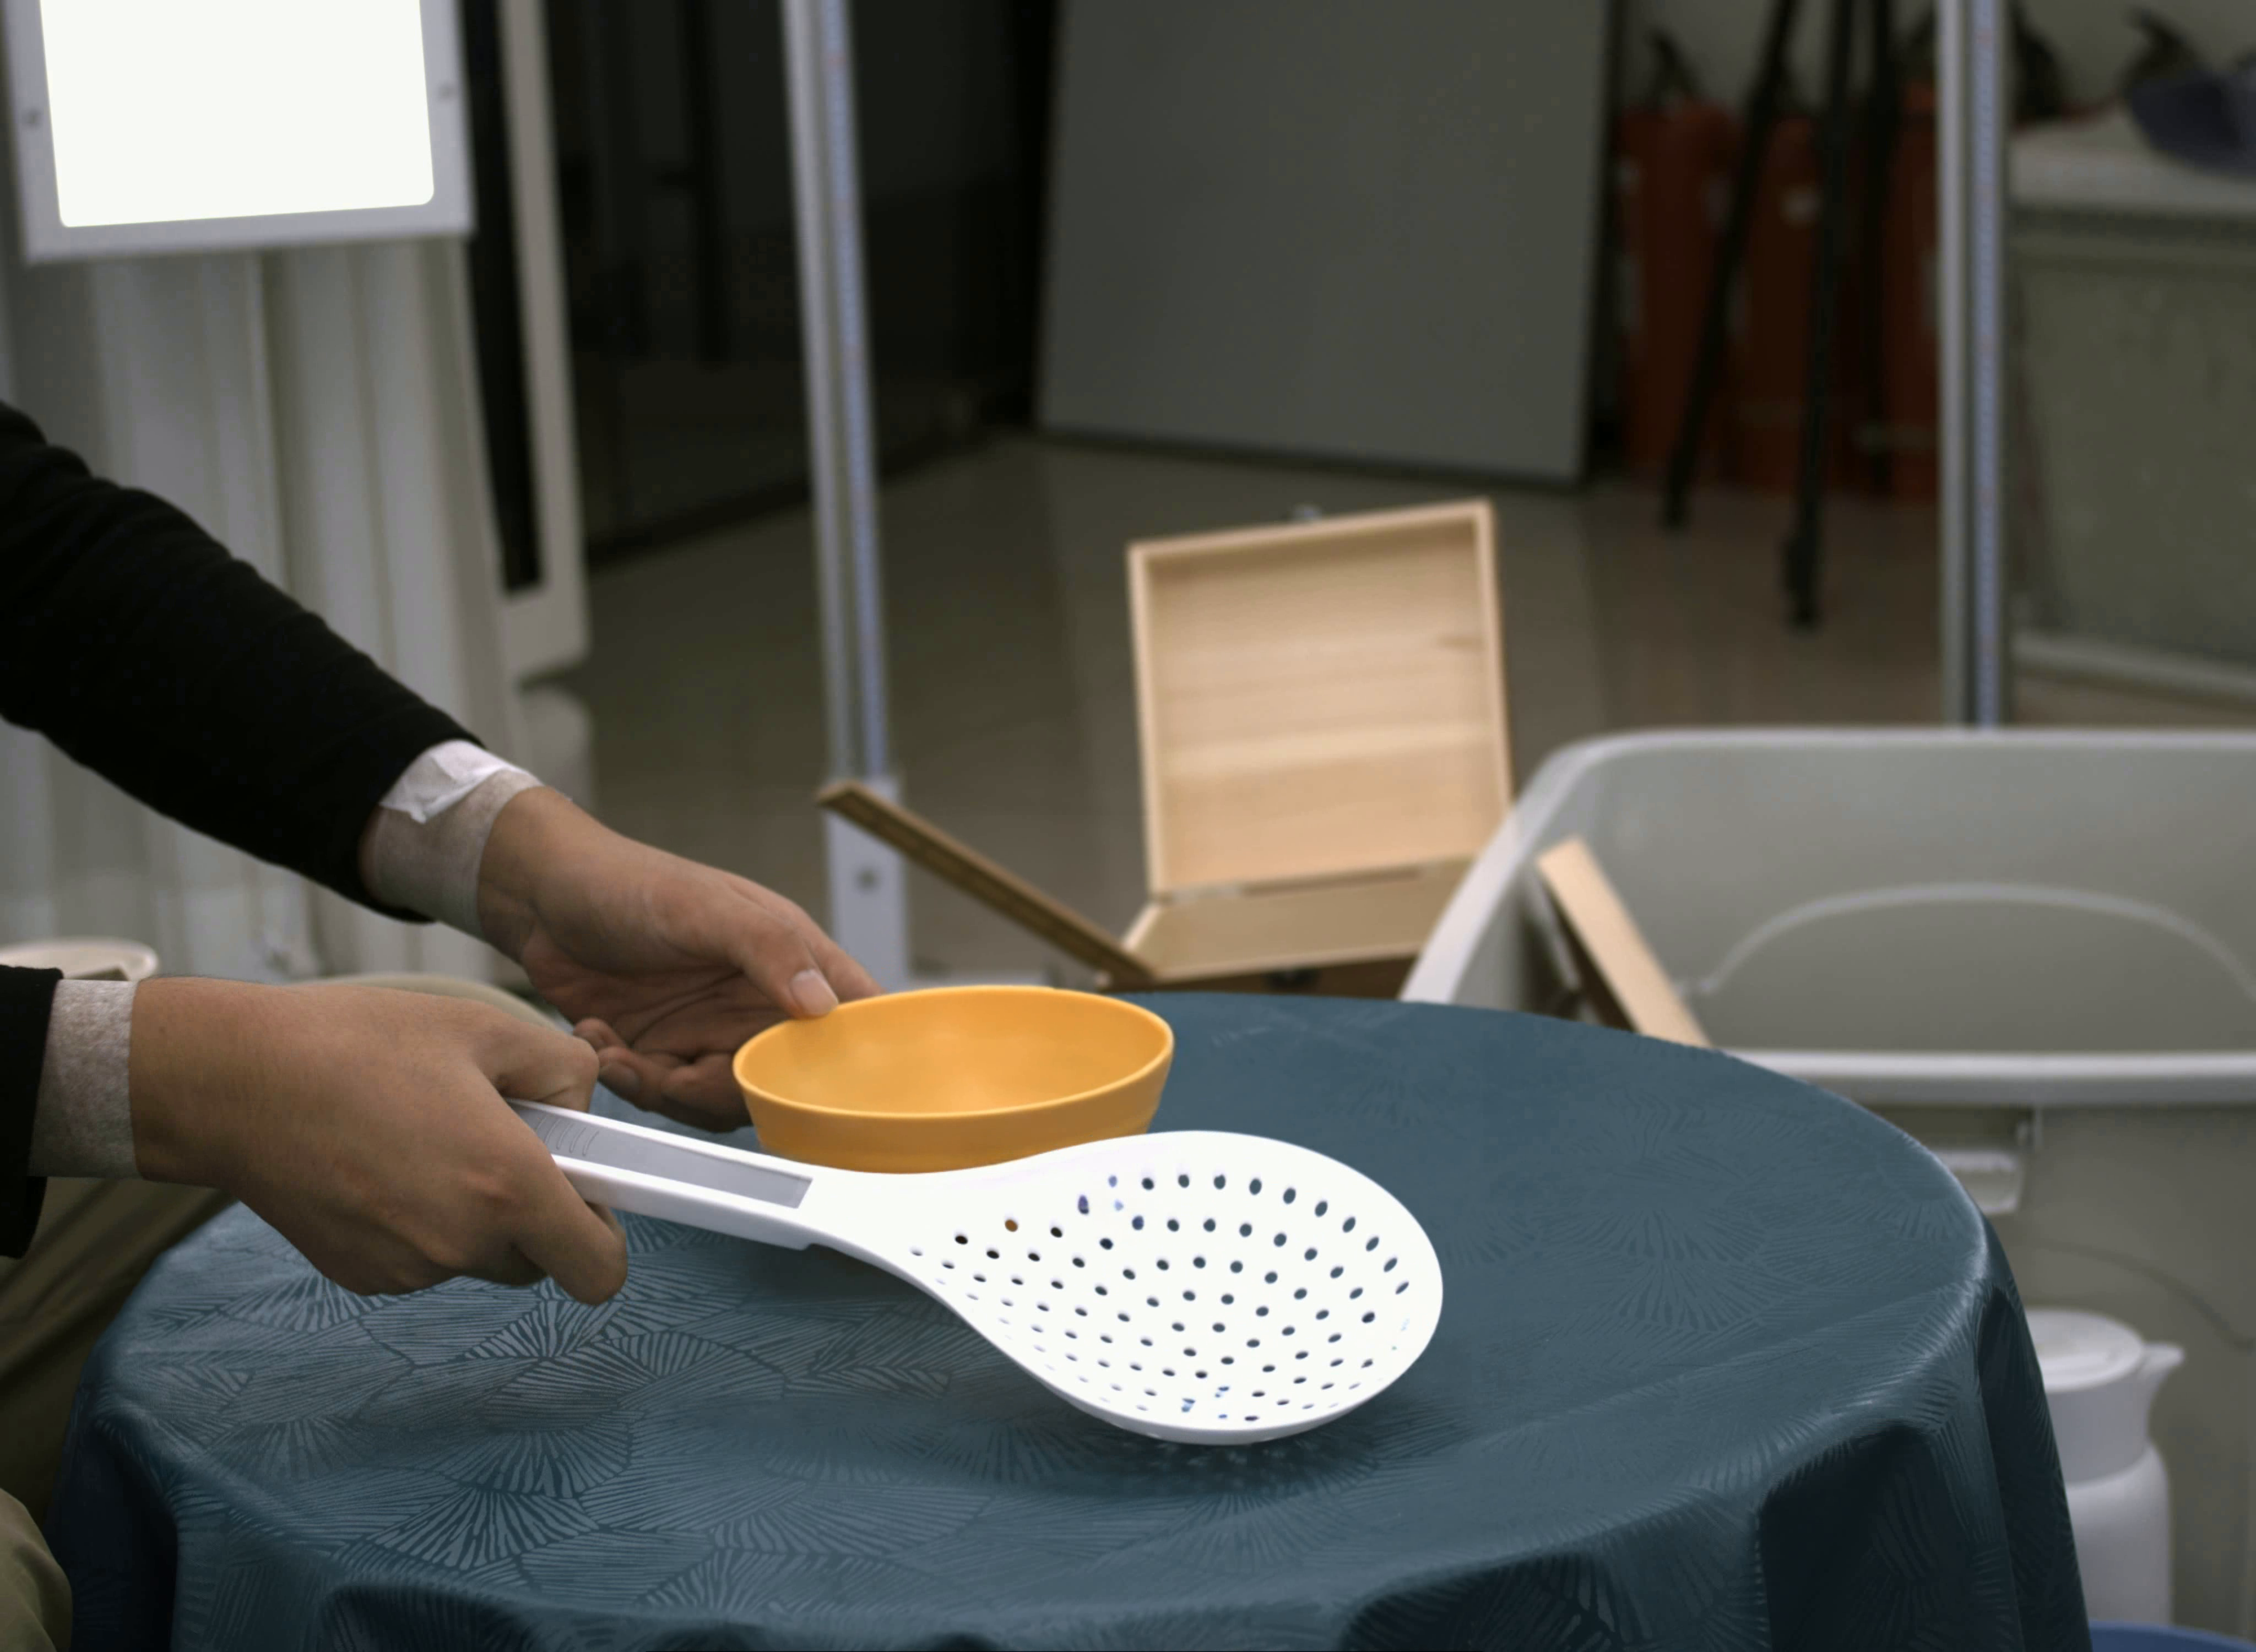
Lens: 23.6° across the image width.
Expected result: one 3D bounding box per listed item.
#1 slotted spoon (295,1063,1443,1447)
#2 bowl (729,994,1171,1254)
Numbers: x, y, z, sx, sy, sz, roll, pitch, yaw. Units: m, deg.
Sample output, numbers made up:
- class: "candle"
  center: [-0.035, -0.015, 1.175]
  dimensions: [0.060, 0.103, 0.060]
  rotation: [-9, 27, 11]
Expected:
- class: "slotted spoon"
  center: [-0.079, 0.115, 1.581]
  dimensions: [0.348, 0.046, 0.135]
  rotation: [14, 38, 10]
- class: "bowl"
  center: [-0.057, 0.102, 1.747]
  dimensions: [0.143, 0.061, 0.145]
  rotation: [-2, 13, 0]
